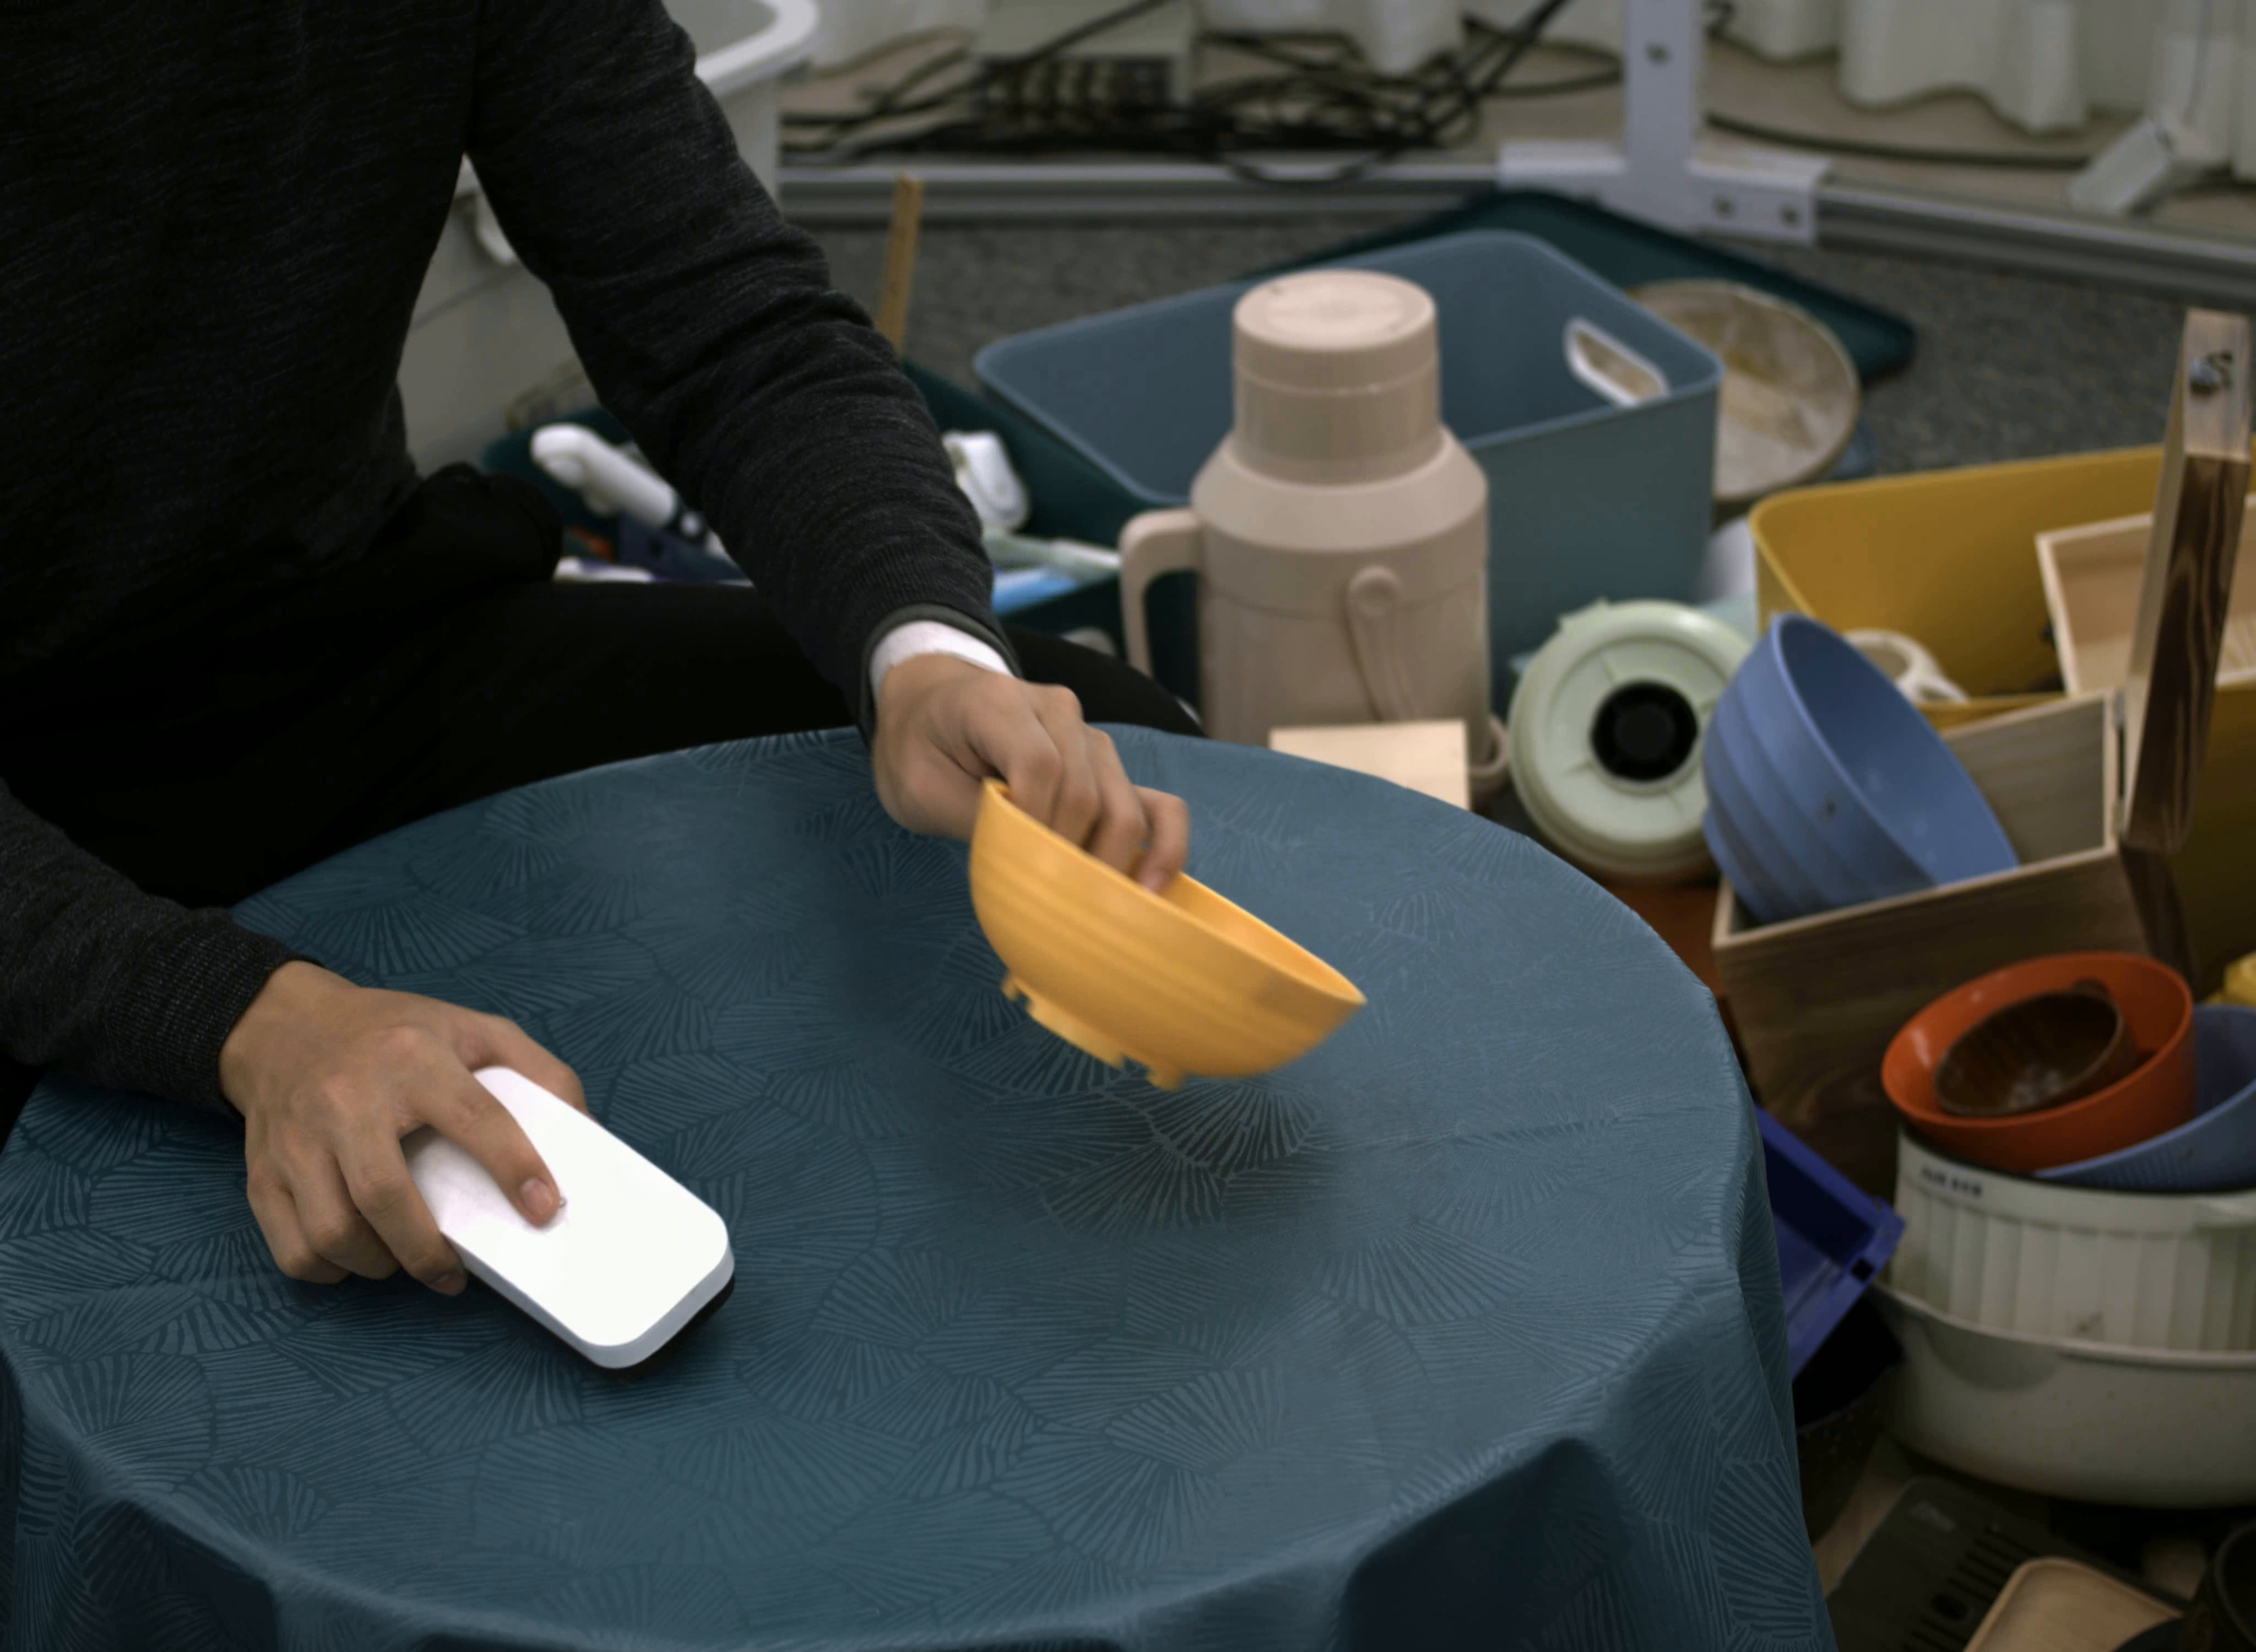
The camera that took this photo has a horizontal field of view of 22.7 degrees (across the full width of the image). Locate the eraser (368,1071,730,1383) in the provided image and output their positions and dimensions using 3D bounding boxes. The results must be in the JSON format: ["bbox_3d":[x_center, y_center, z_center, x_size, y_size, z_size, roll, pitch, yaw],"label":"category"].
[{"bbox_3d":[-0.185,0.127,1.807,0.064,0.034,0.131,-39,50,-24],"label":"eraser"}]

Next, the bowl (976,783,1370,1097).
[{"bbox_3d":[0.004,0.047,1.848,0.145,0.060,0.146,29,5,-2],"label":"bowl"}]
